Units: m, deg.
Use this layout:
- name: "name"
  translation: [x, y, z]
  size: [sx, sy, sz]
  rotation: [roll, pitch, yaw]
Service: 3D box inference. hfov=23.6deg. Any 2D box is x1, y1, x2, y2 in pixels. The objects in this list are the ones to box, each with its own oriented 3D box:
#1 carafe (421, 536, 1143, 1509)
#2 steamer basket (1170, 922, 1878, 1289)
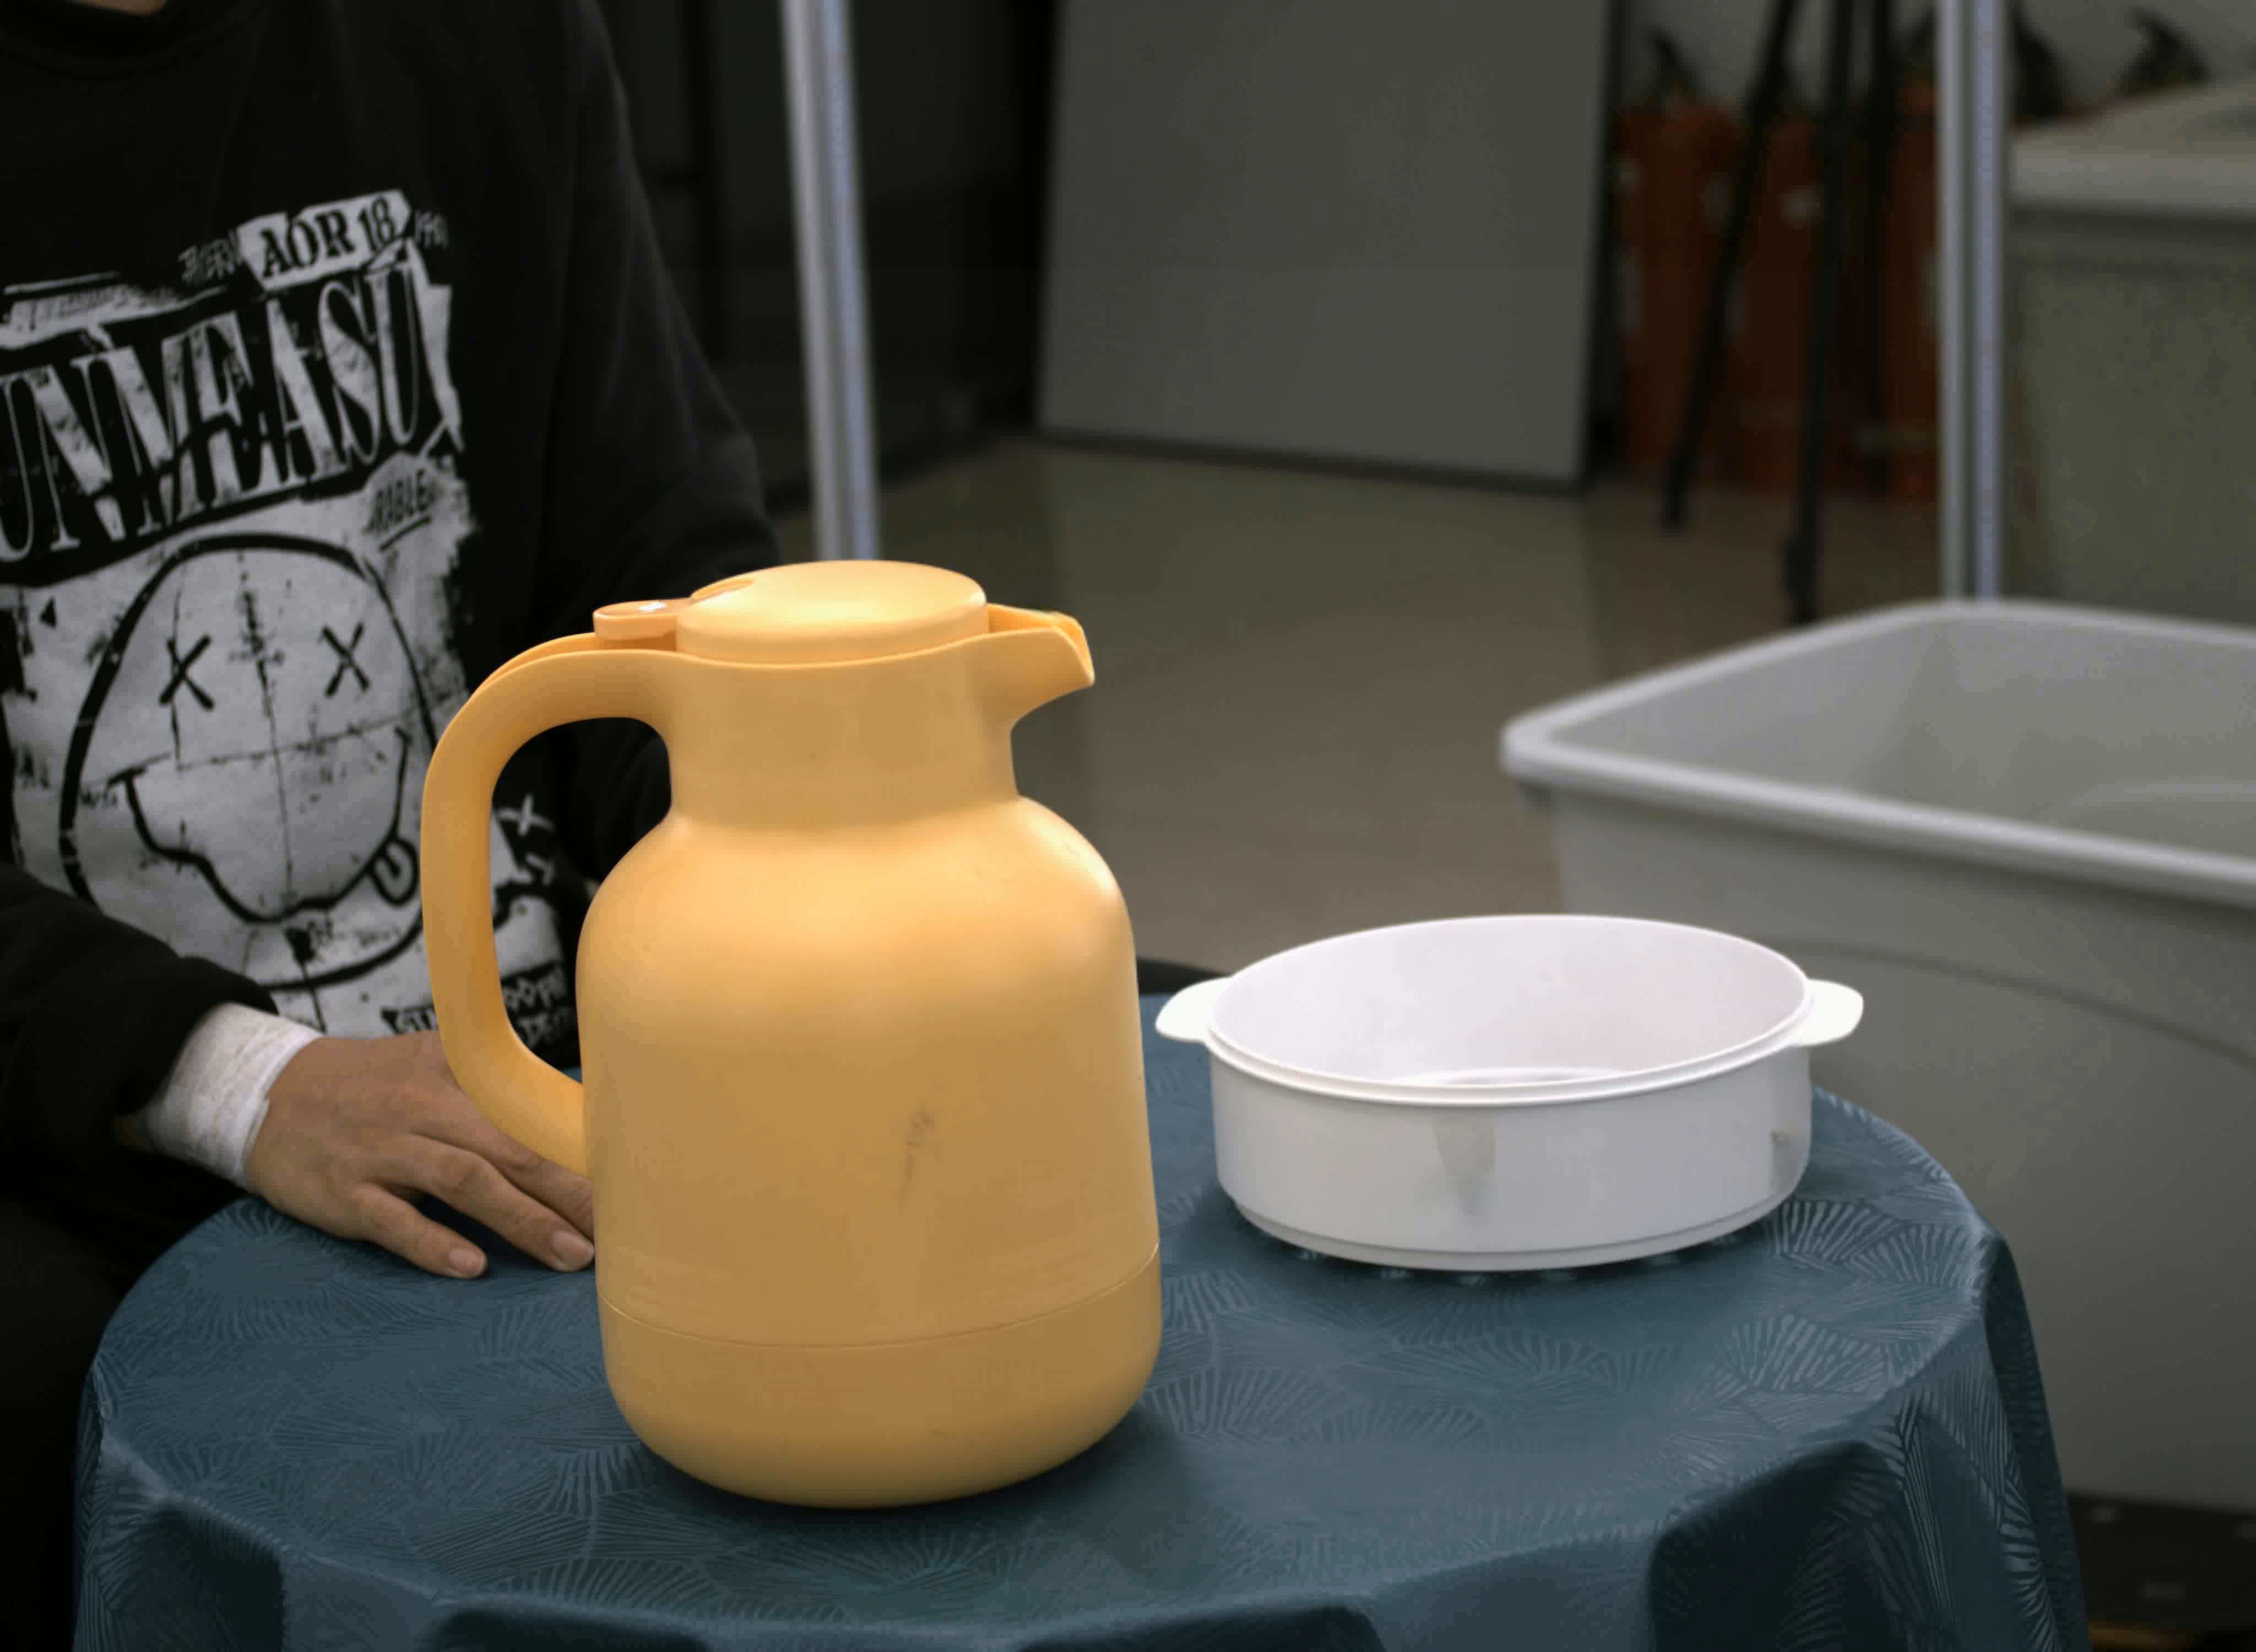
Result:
- name: "carafe"
  translation: [-0.097, 0.051, 1.535]
  size: [0.200, 0.263, 0.163]
  rotation: [0, 11, 8]
- name: "steamer basket"
  translation: [0.128, 0.089, 1.737]
  size: [0.229, 0.070, 0.200]
  rotation: [-1, 15, 15]
